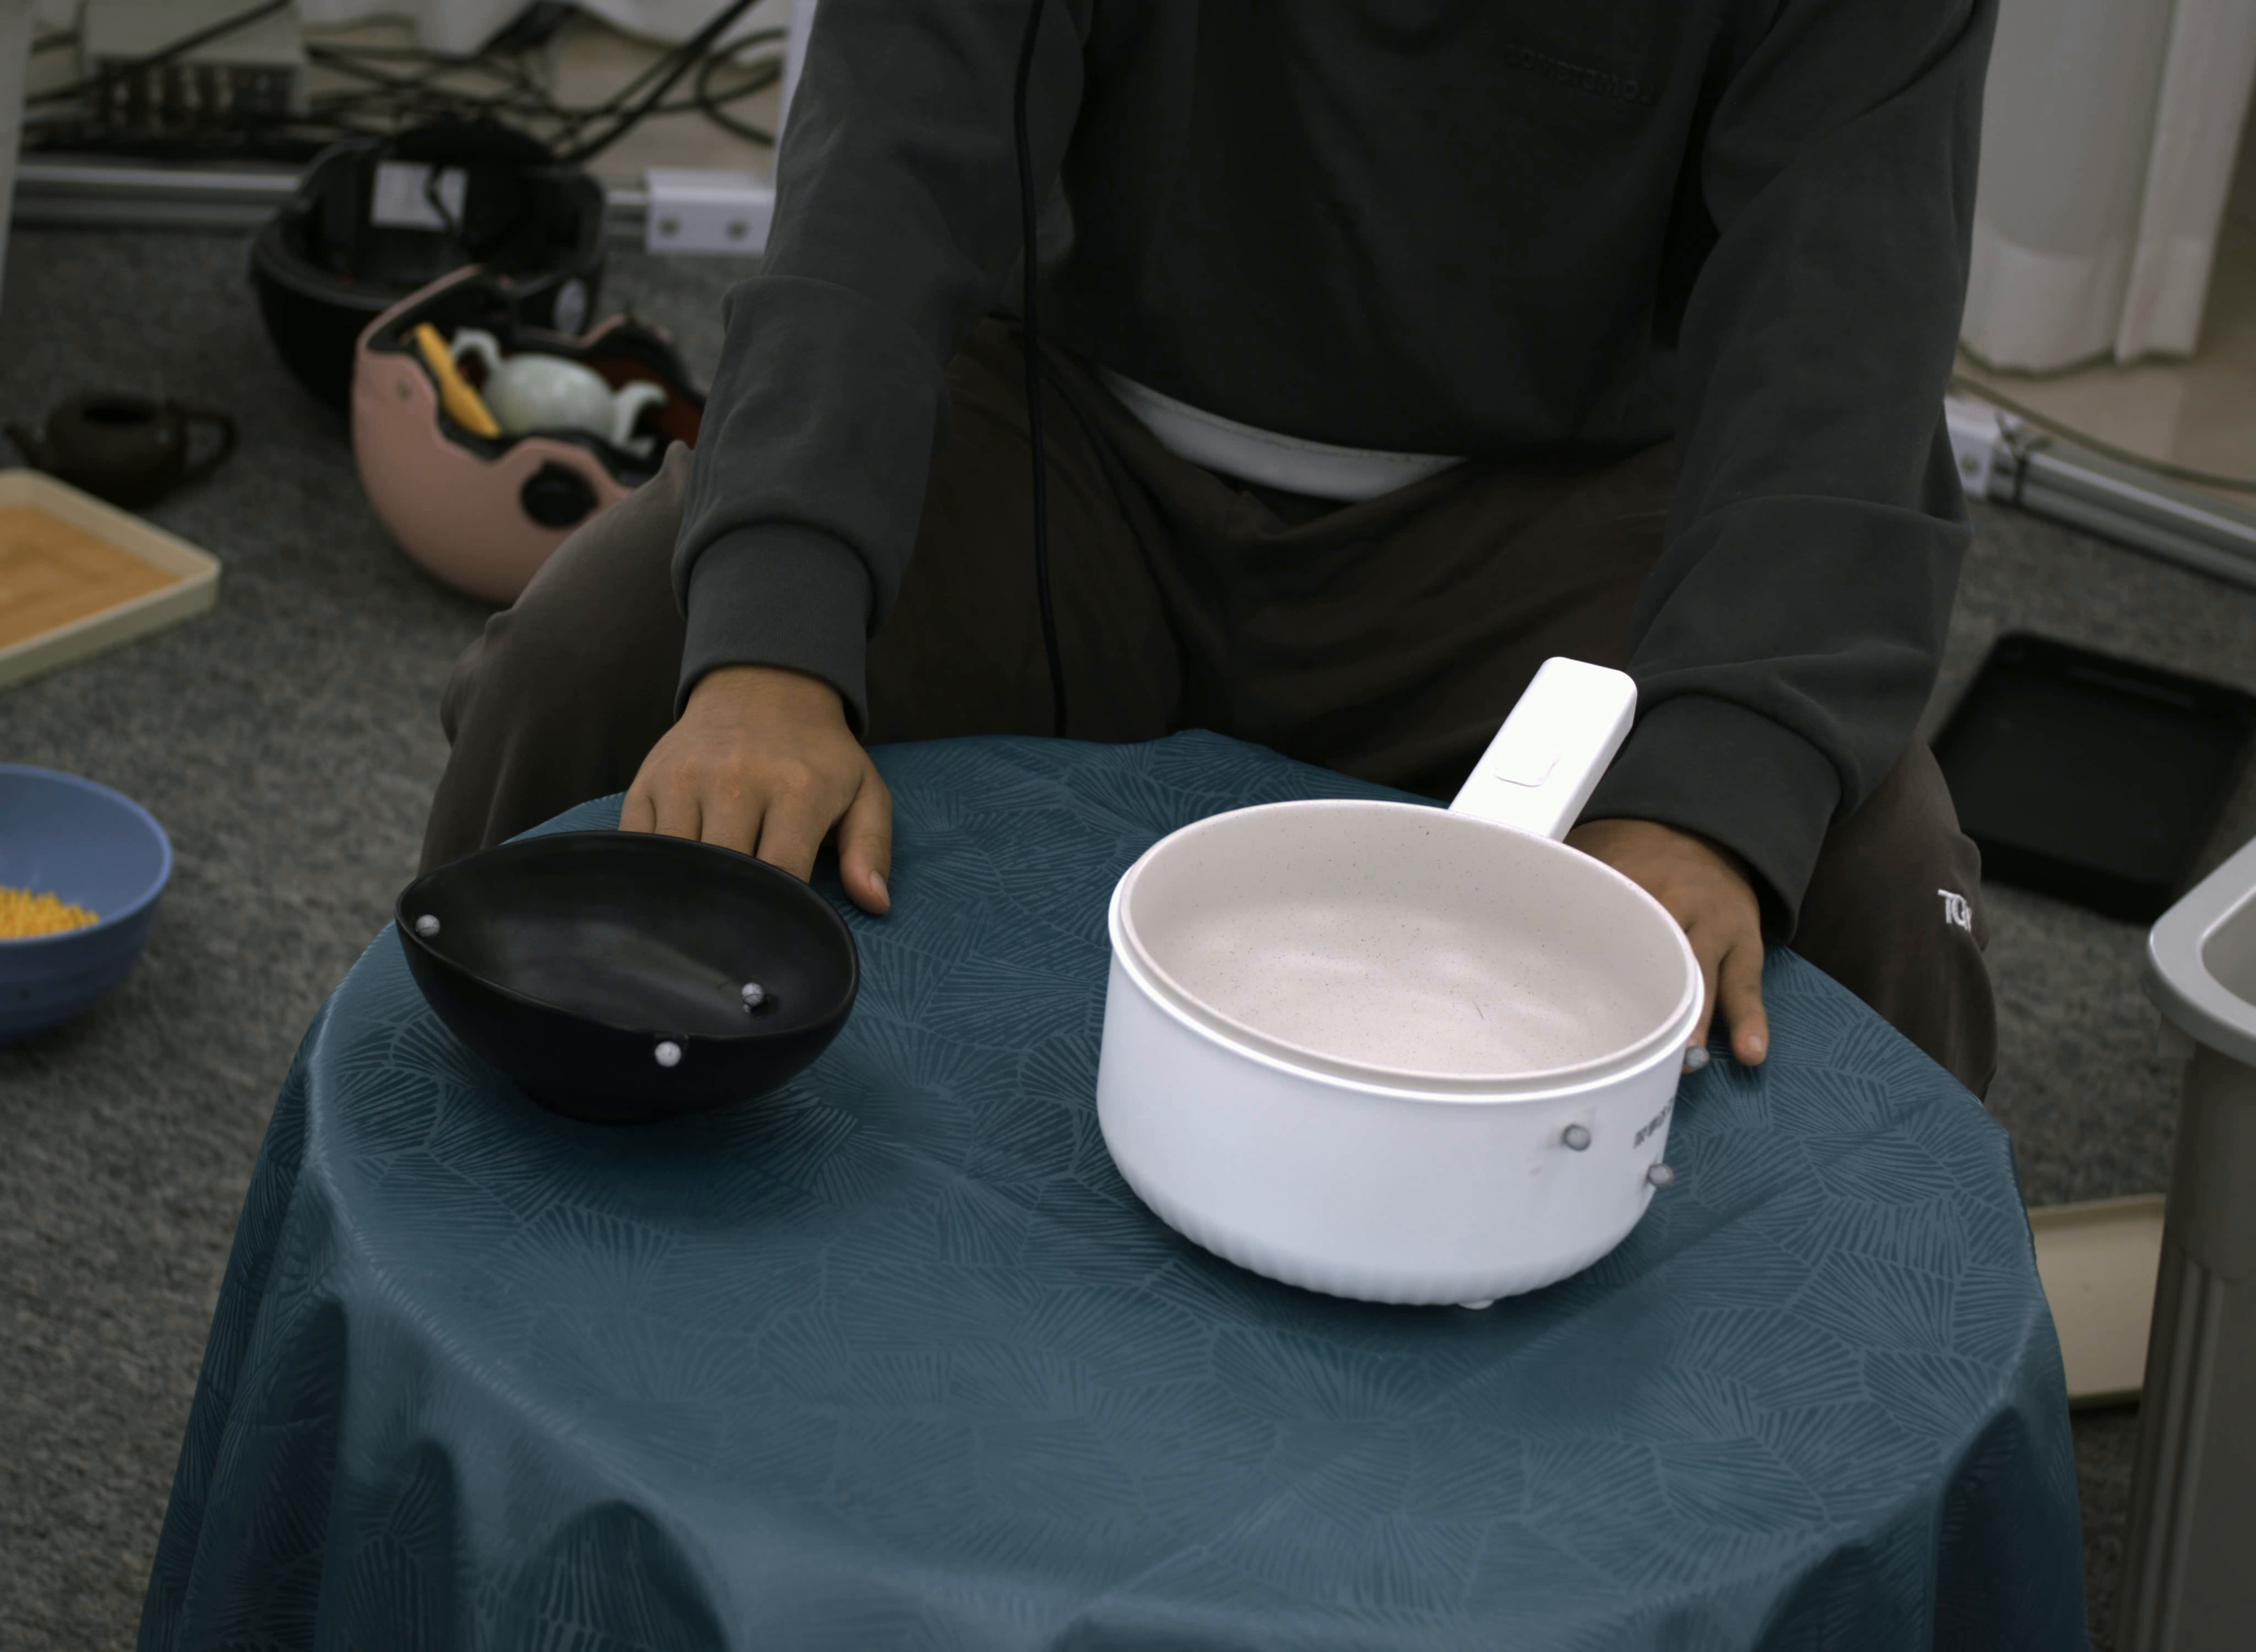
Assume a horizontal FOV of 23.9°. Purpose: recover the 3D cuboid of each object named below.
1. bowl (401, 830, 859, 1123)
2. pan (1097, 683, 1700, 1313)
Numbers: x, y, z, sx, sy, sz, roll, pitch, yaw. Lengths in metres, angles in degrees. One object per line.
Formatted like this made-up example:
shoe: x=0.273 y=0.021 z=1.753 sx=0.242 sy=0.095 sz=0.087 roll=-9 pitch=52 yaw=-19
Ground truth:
bowl: x=-0.173 y=0.059 z=1.821 sx=0.171 sy=0.066 sz=0.137 roll=19 pitch=29 yaw=26
pan: x=0.112 y=0.055 z=1.871 sx=0.201 sy=0.102 sz=0.355 roll=12 pitch=25 yaw=15
